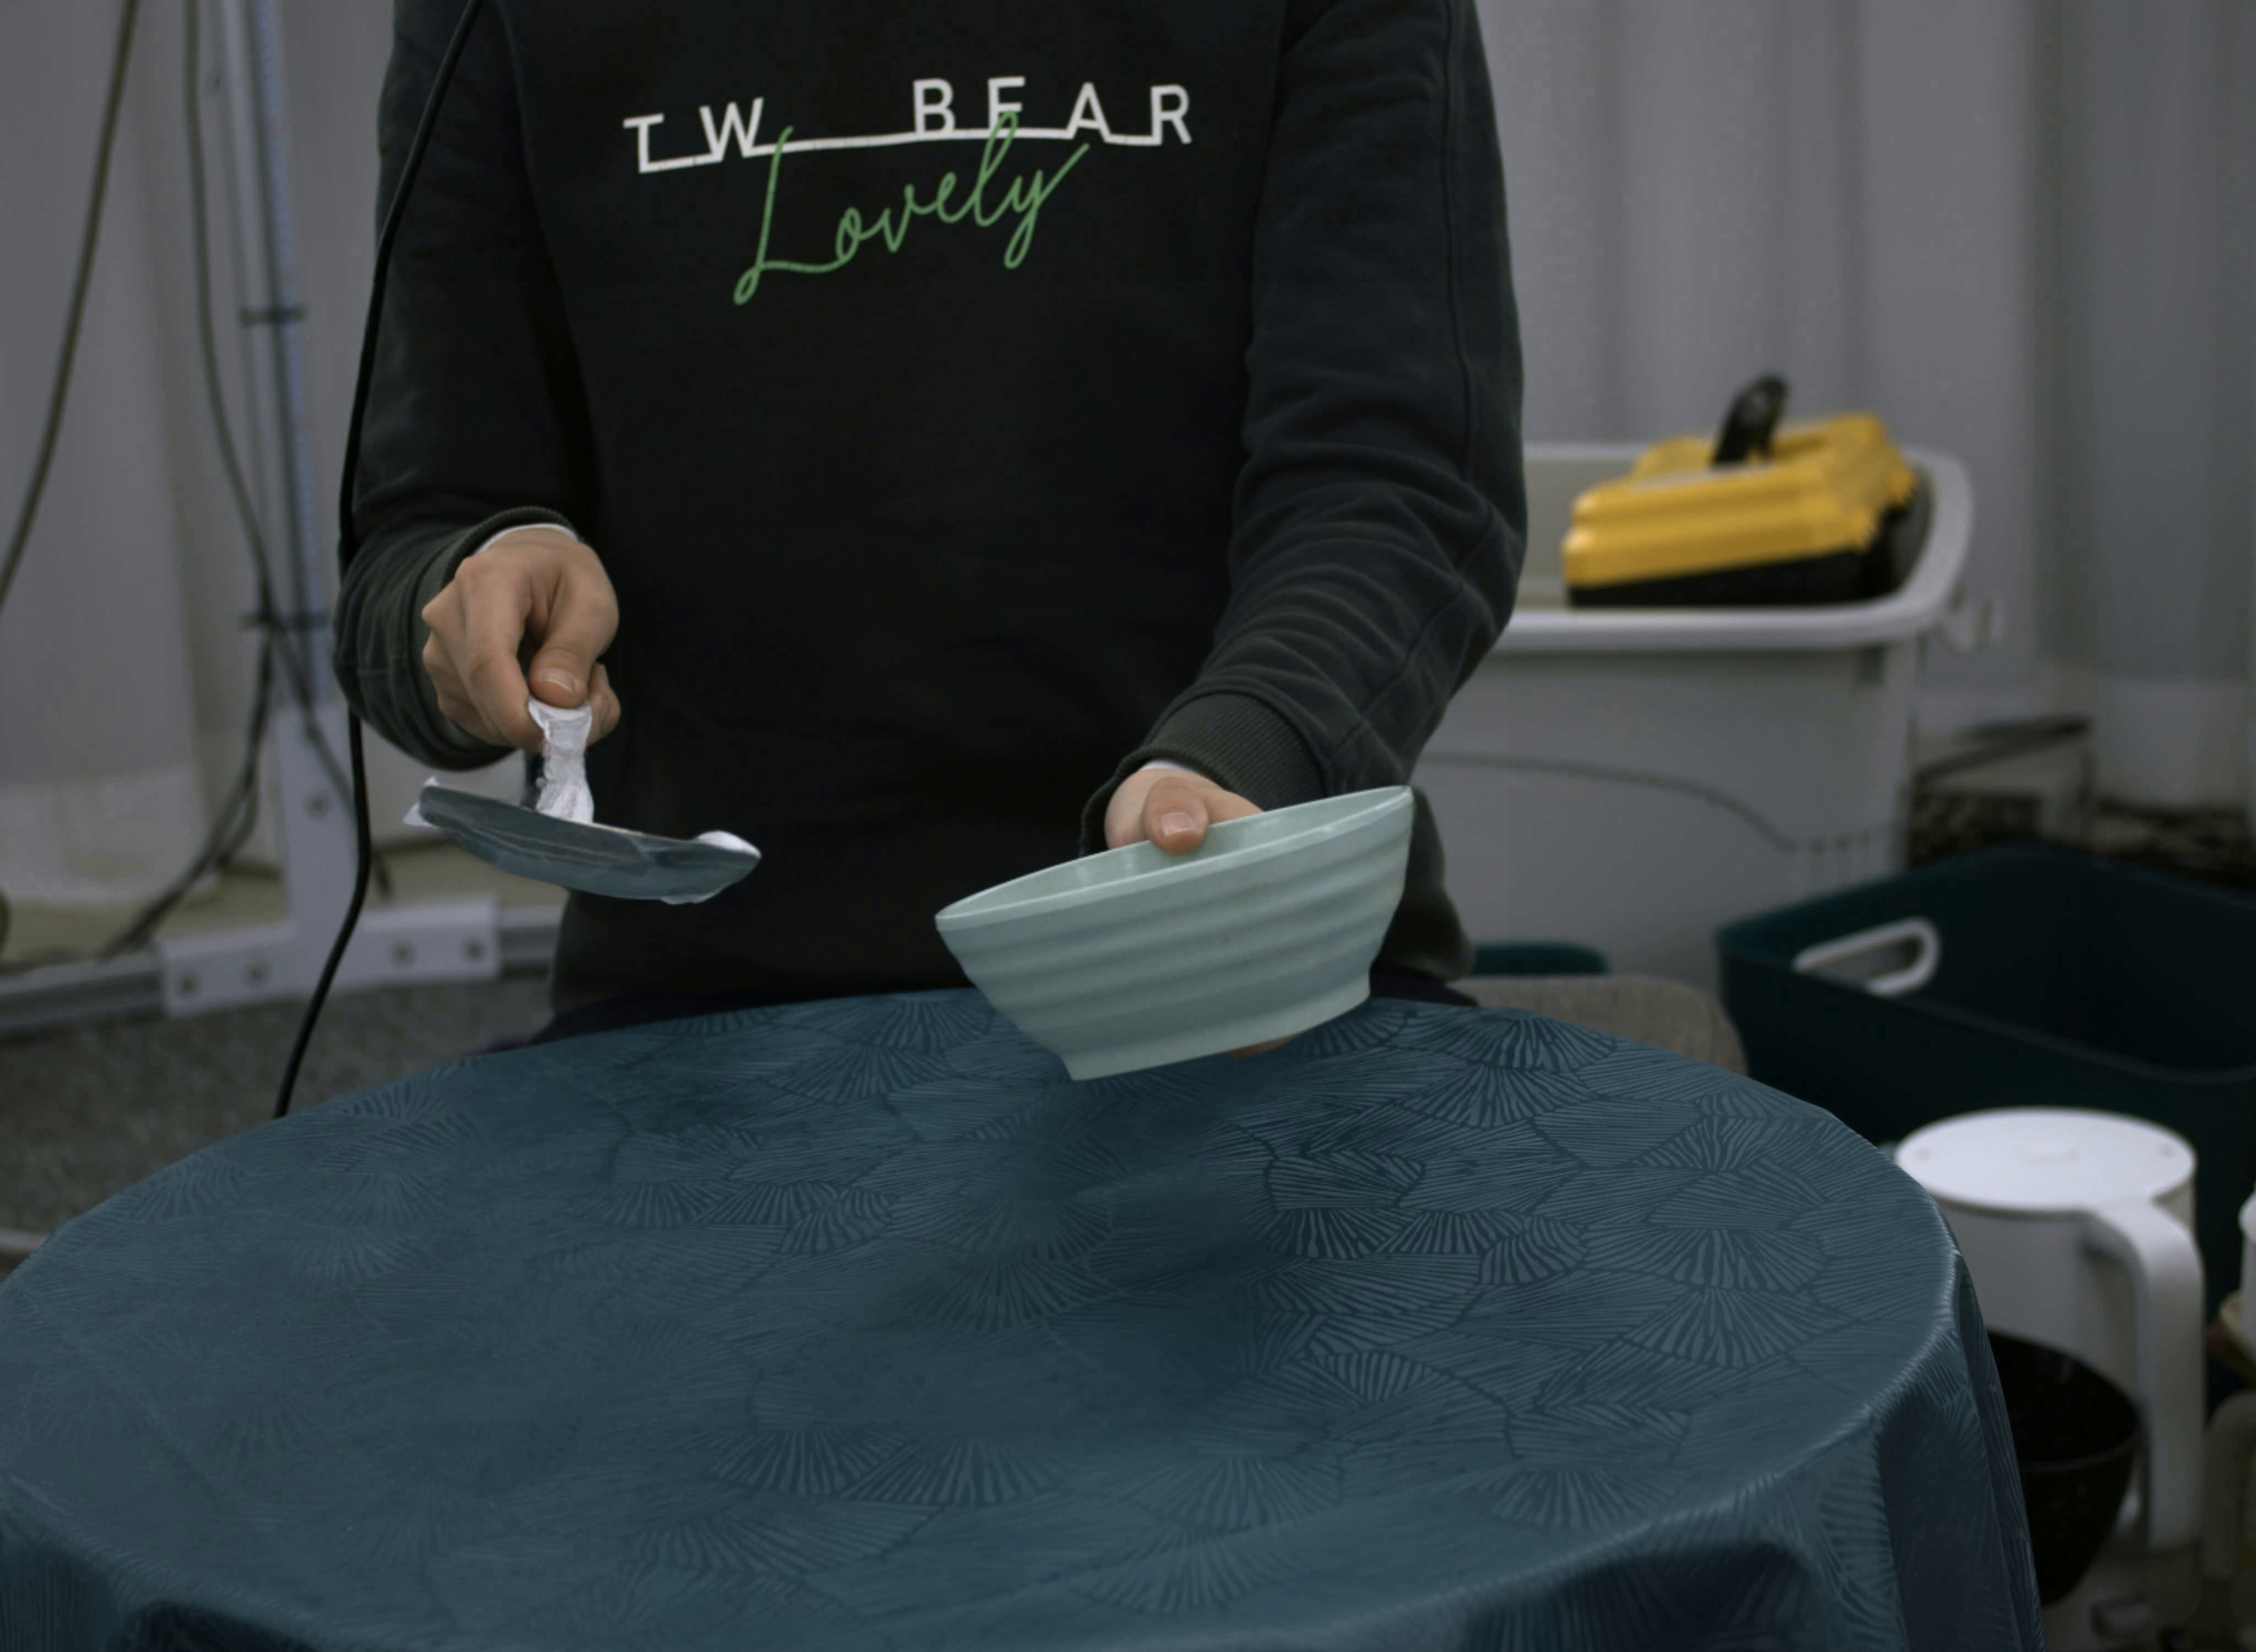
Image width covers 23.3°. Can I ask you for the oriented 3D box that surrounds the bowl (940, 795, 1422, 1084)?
[{"bbox_3d":[0.021,0.036,1.609,0.151,0.058,0.152,-12,5,1],"label":"bowl"}]

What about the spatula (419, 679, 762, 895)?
[{"bbox_3d":[-0.170,-0.024,1.698,0.098,0.044,0.367,10,12,-8],"label":"spatula"}]
